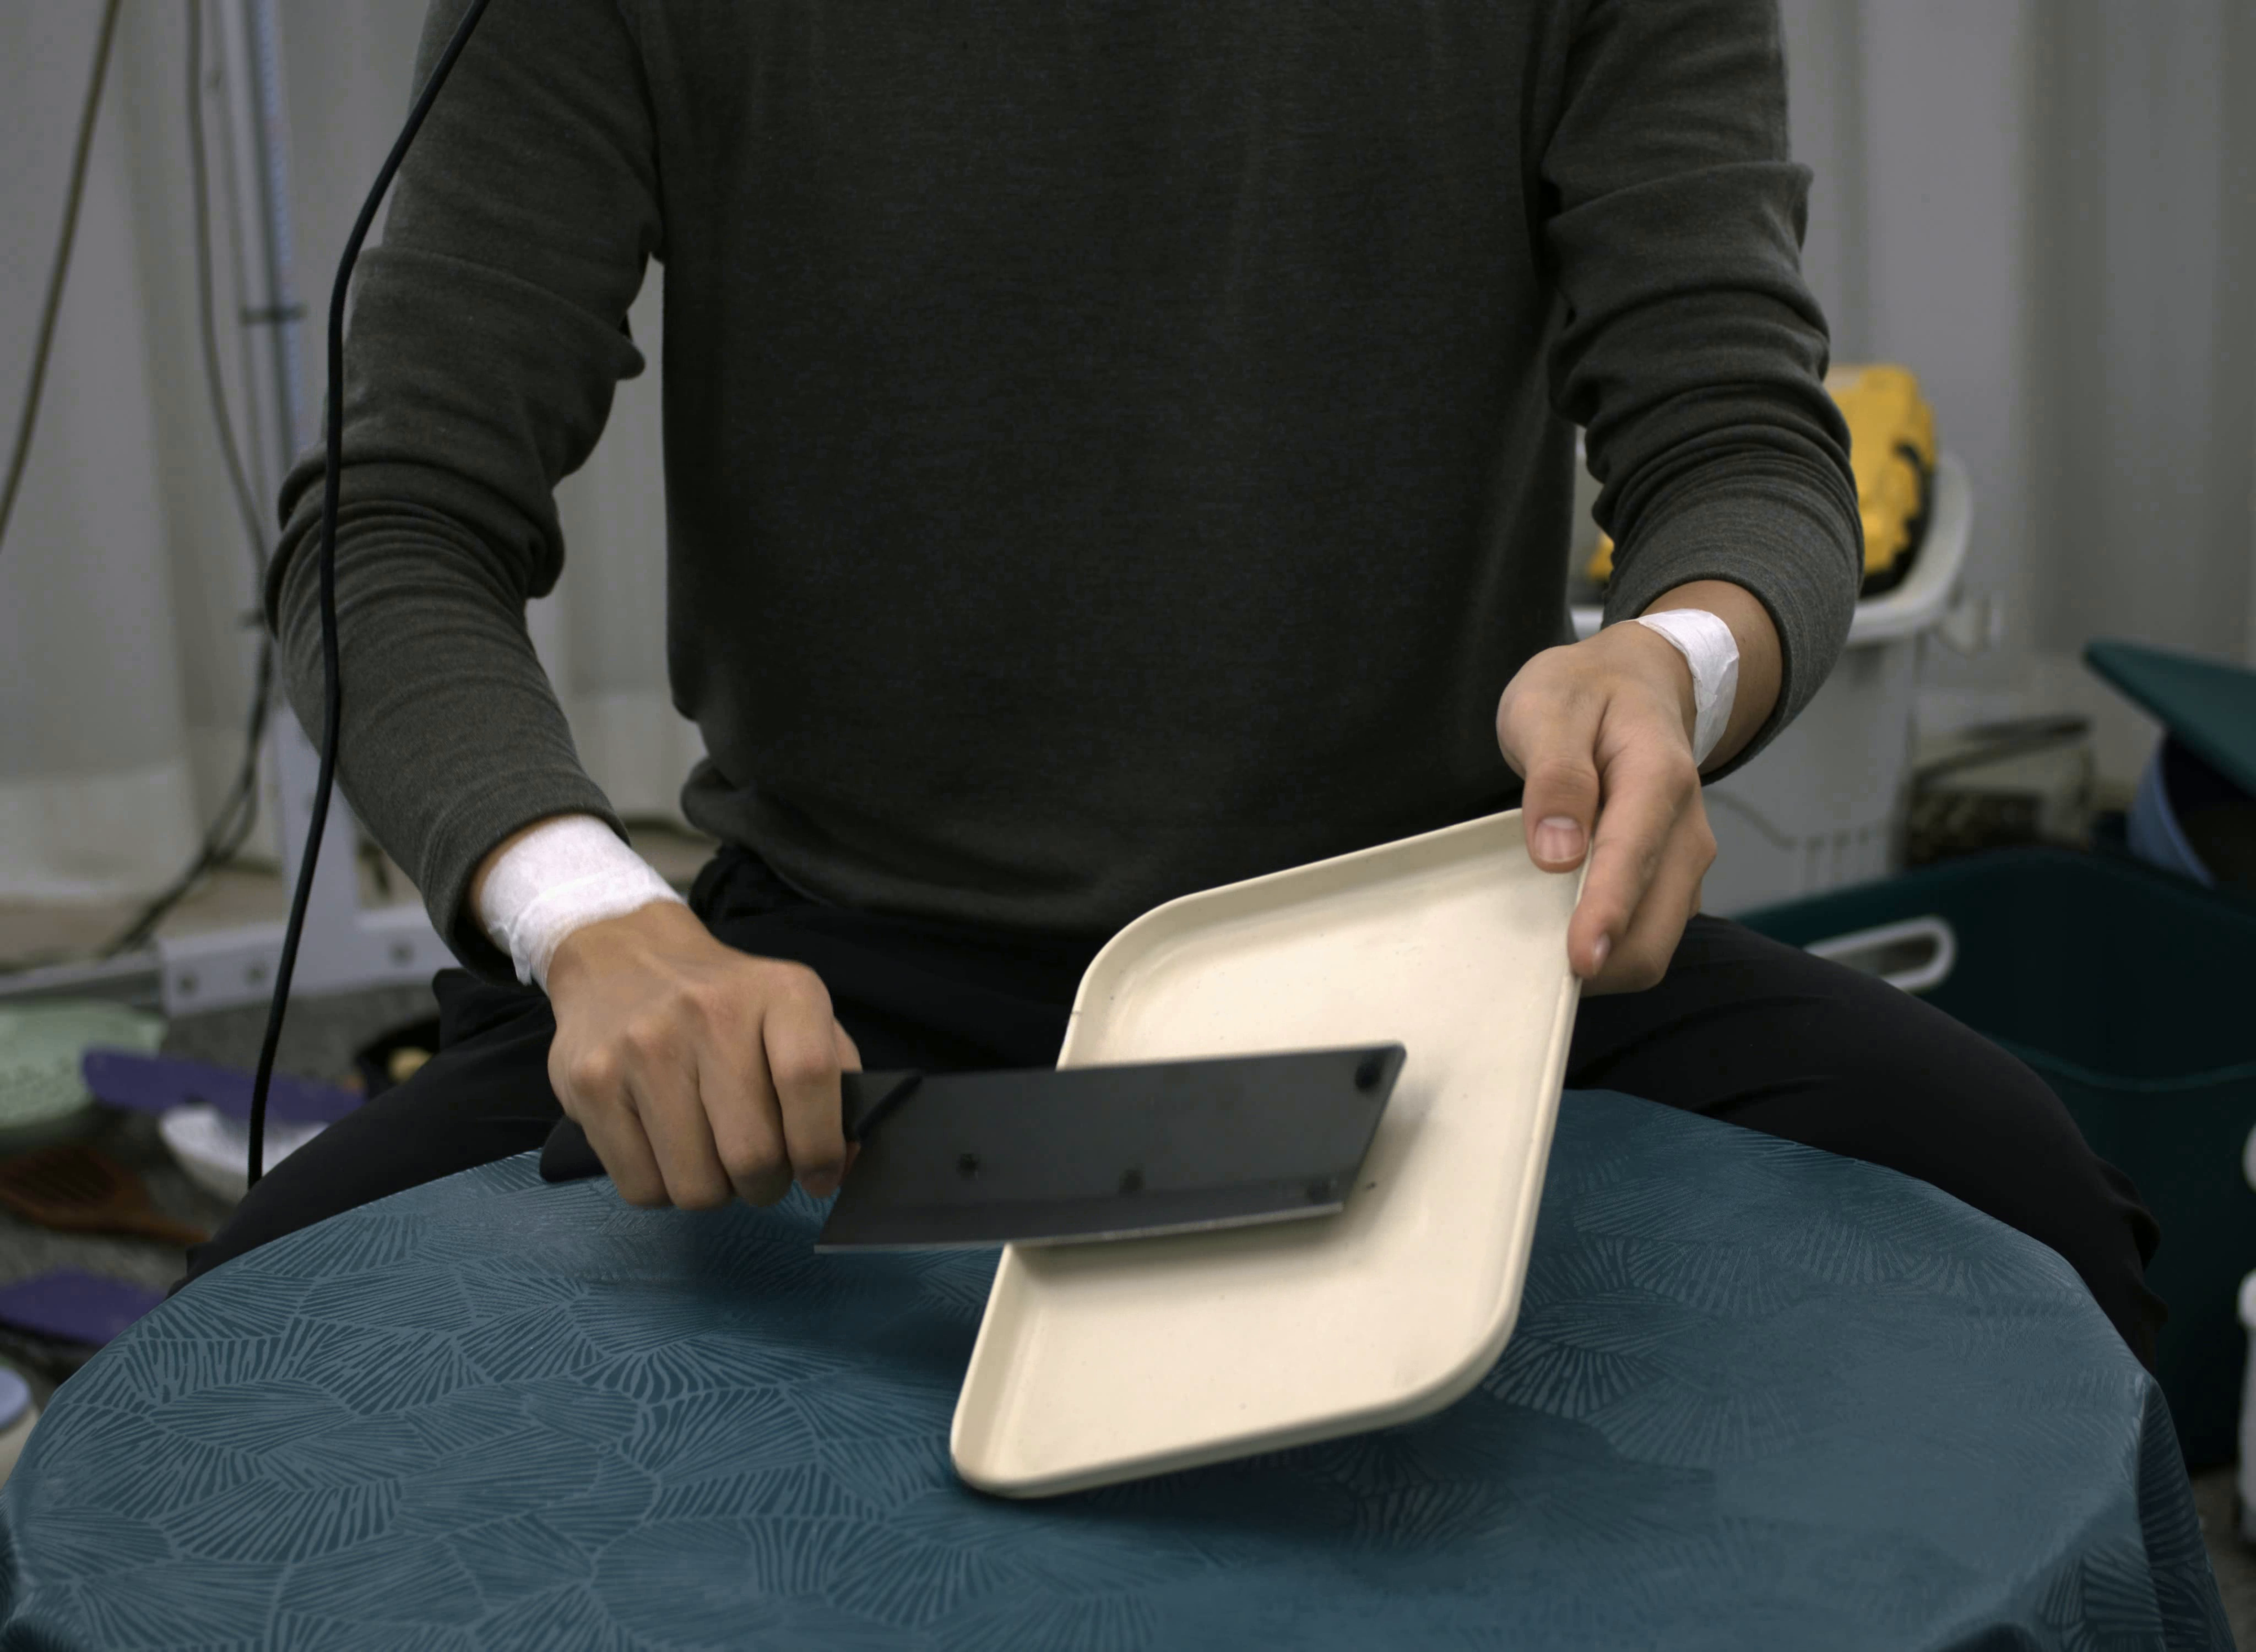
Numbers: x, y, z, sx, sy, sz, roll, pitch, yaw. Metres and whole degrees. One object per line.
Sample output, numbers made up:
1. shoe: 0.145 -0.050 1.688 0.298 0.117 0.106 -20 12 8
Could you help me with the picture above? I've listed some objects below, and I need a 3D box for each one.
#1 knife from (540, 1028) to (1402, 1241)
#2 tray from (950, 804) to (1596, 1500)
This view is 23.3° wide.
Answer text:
1. knife: -0.054 0.091 1.590 0.303 0.020 0.082 -3 44 37
2. tray: 0.045 0.090 1.525 0.171 0.017 0.243 -15 35 25
